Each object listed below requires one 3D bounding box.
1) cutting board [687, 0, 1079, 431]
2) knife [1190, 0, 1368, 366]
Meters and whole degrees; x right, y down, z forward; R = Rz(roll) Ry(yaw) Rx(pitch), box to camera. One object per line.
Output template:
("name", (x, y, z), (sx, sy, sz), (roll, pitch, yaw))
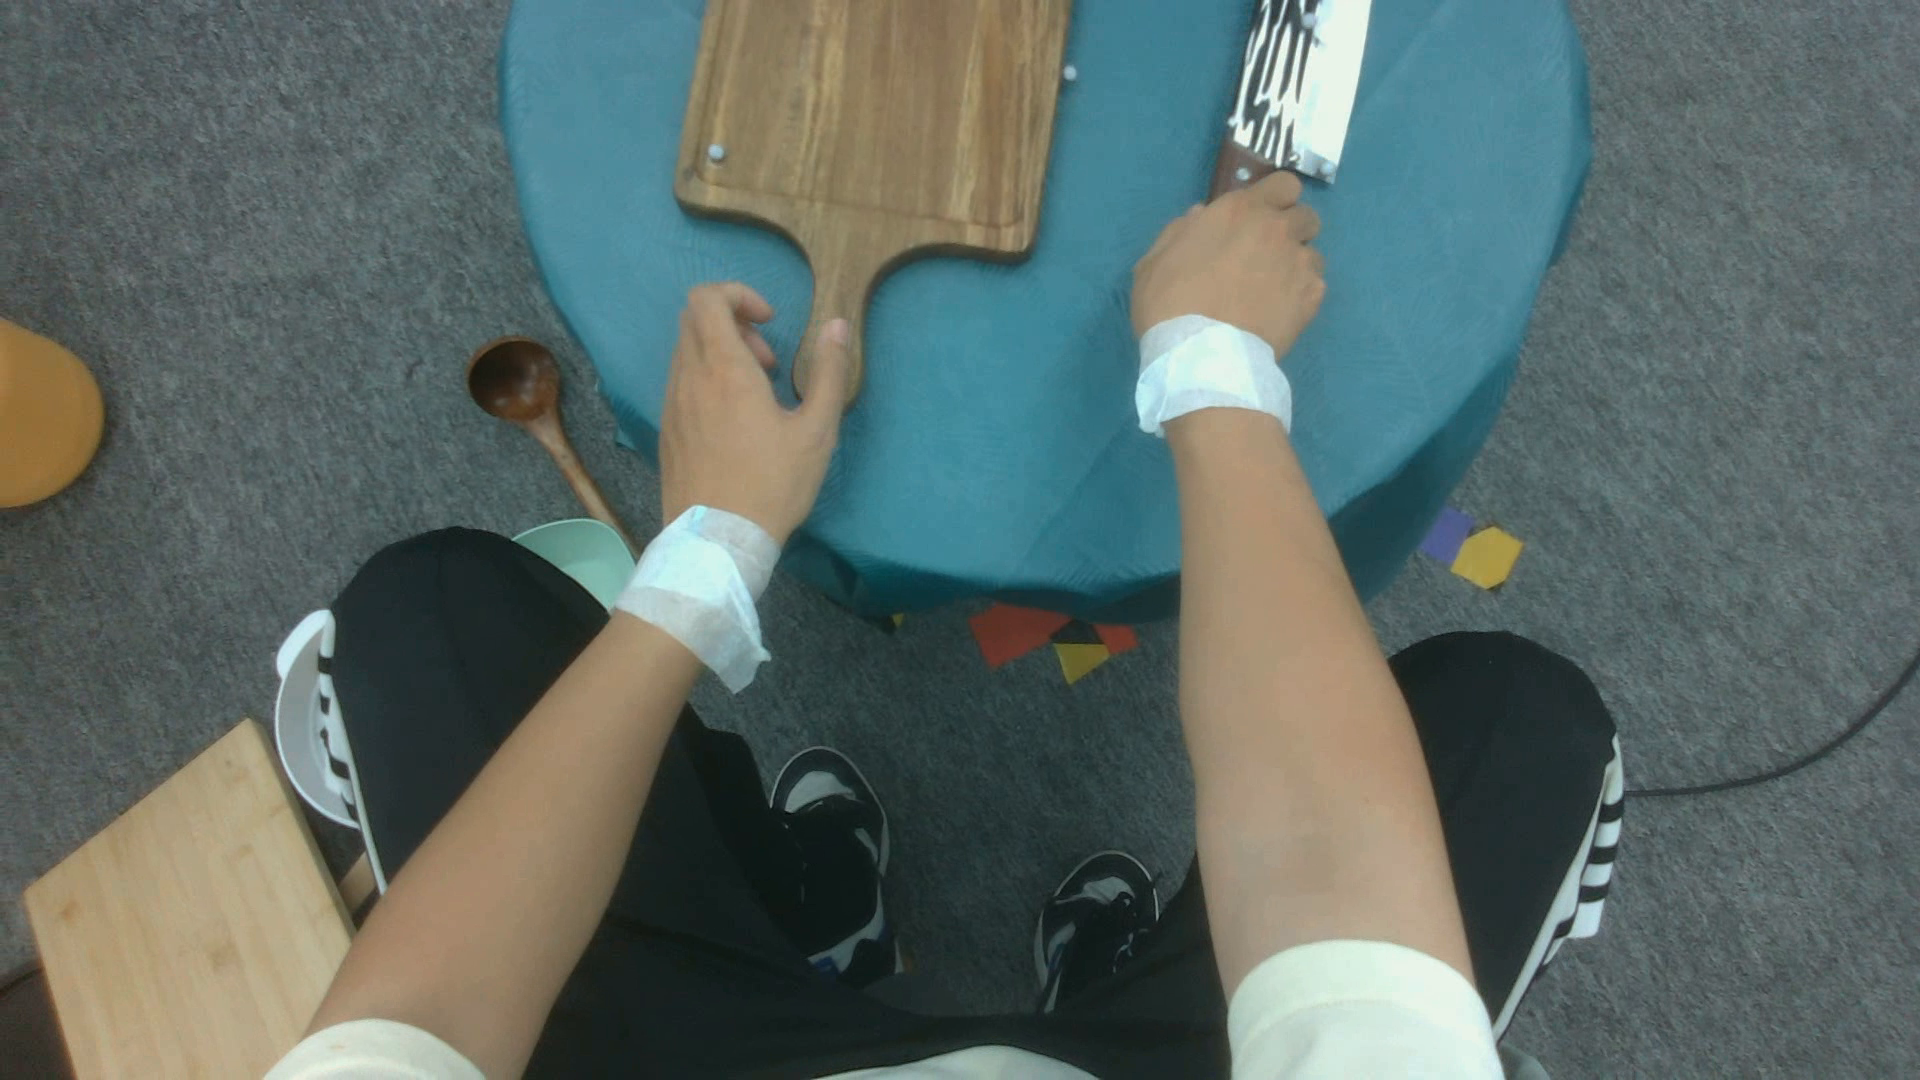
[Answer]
("cutting board", (-0.043, -0.232, 0.769), (0.201, 0.023, 0.353), (8, 80, 2))
("knife", (0.184, -0.227, 0.762), (0.068, 0.024, 0.300), (18, 77, -14))
